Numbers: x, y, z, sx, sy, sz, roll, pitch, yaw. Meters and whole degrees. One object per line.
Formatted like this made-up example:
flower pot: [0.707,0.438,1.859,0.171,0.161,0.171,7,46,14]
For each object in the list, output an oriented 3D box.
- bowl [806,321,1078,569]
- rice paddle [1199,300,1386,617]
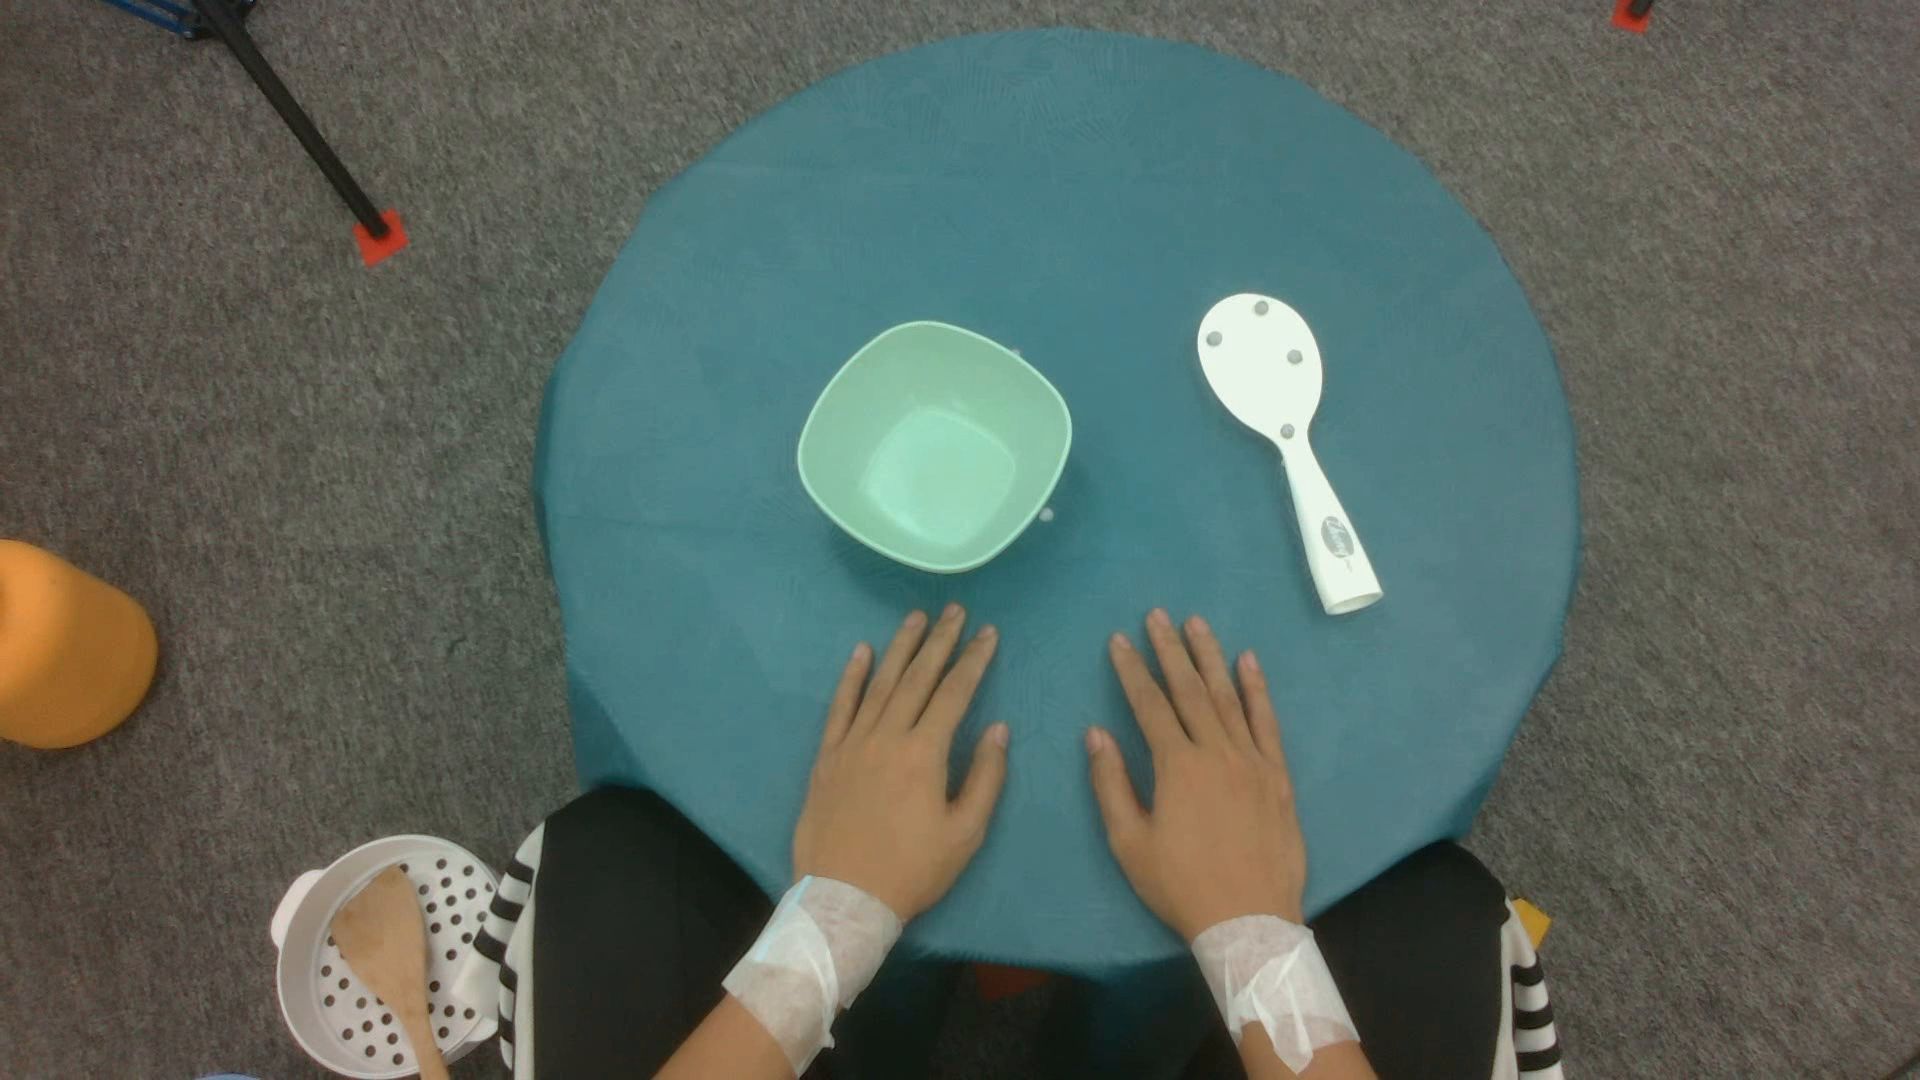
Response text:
bowl: [-0.010,-0.045,0.784,0.151,0.058,0.152,1,67,-1]
rice paddle: [0.193,-0.055,0.797,0.069,0.029,0.206,-14,69,-5]
